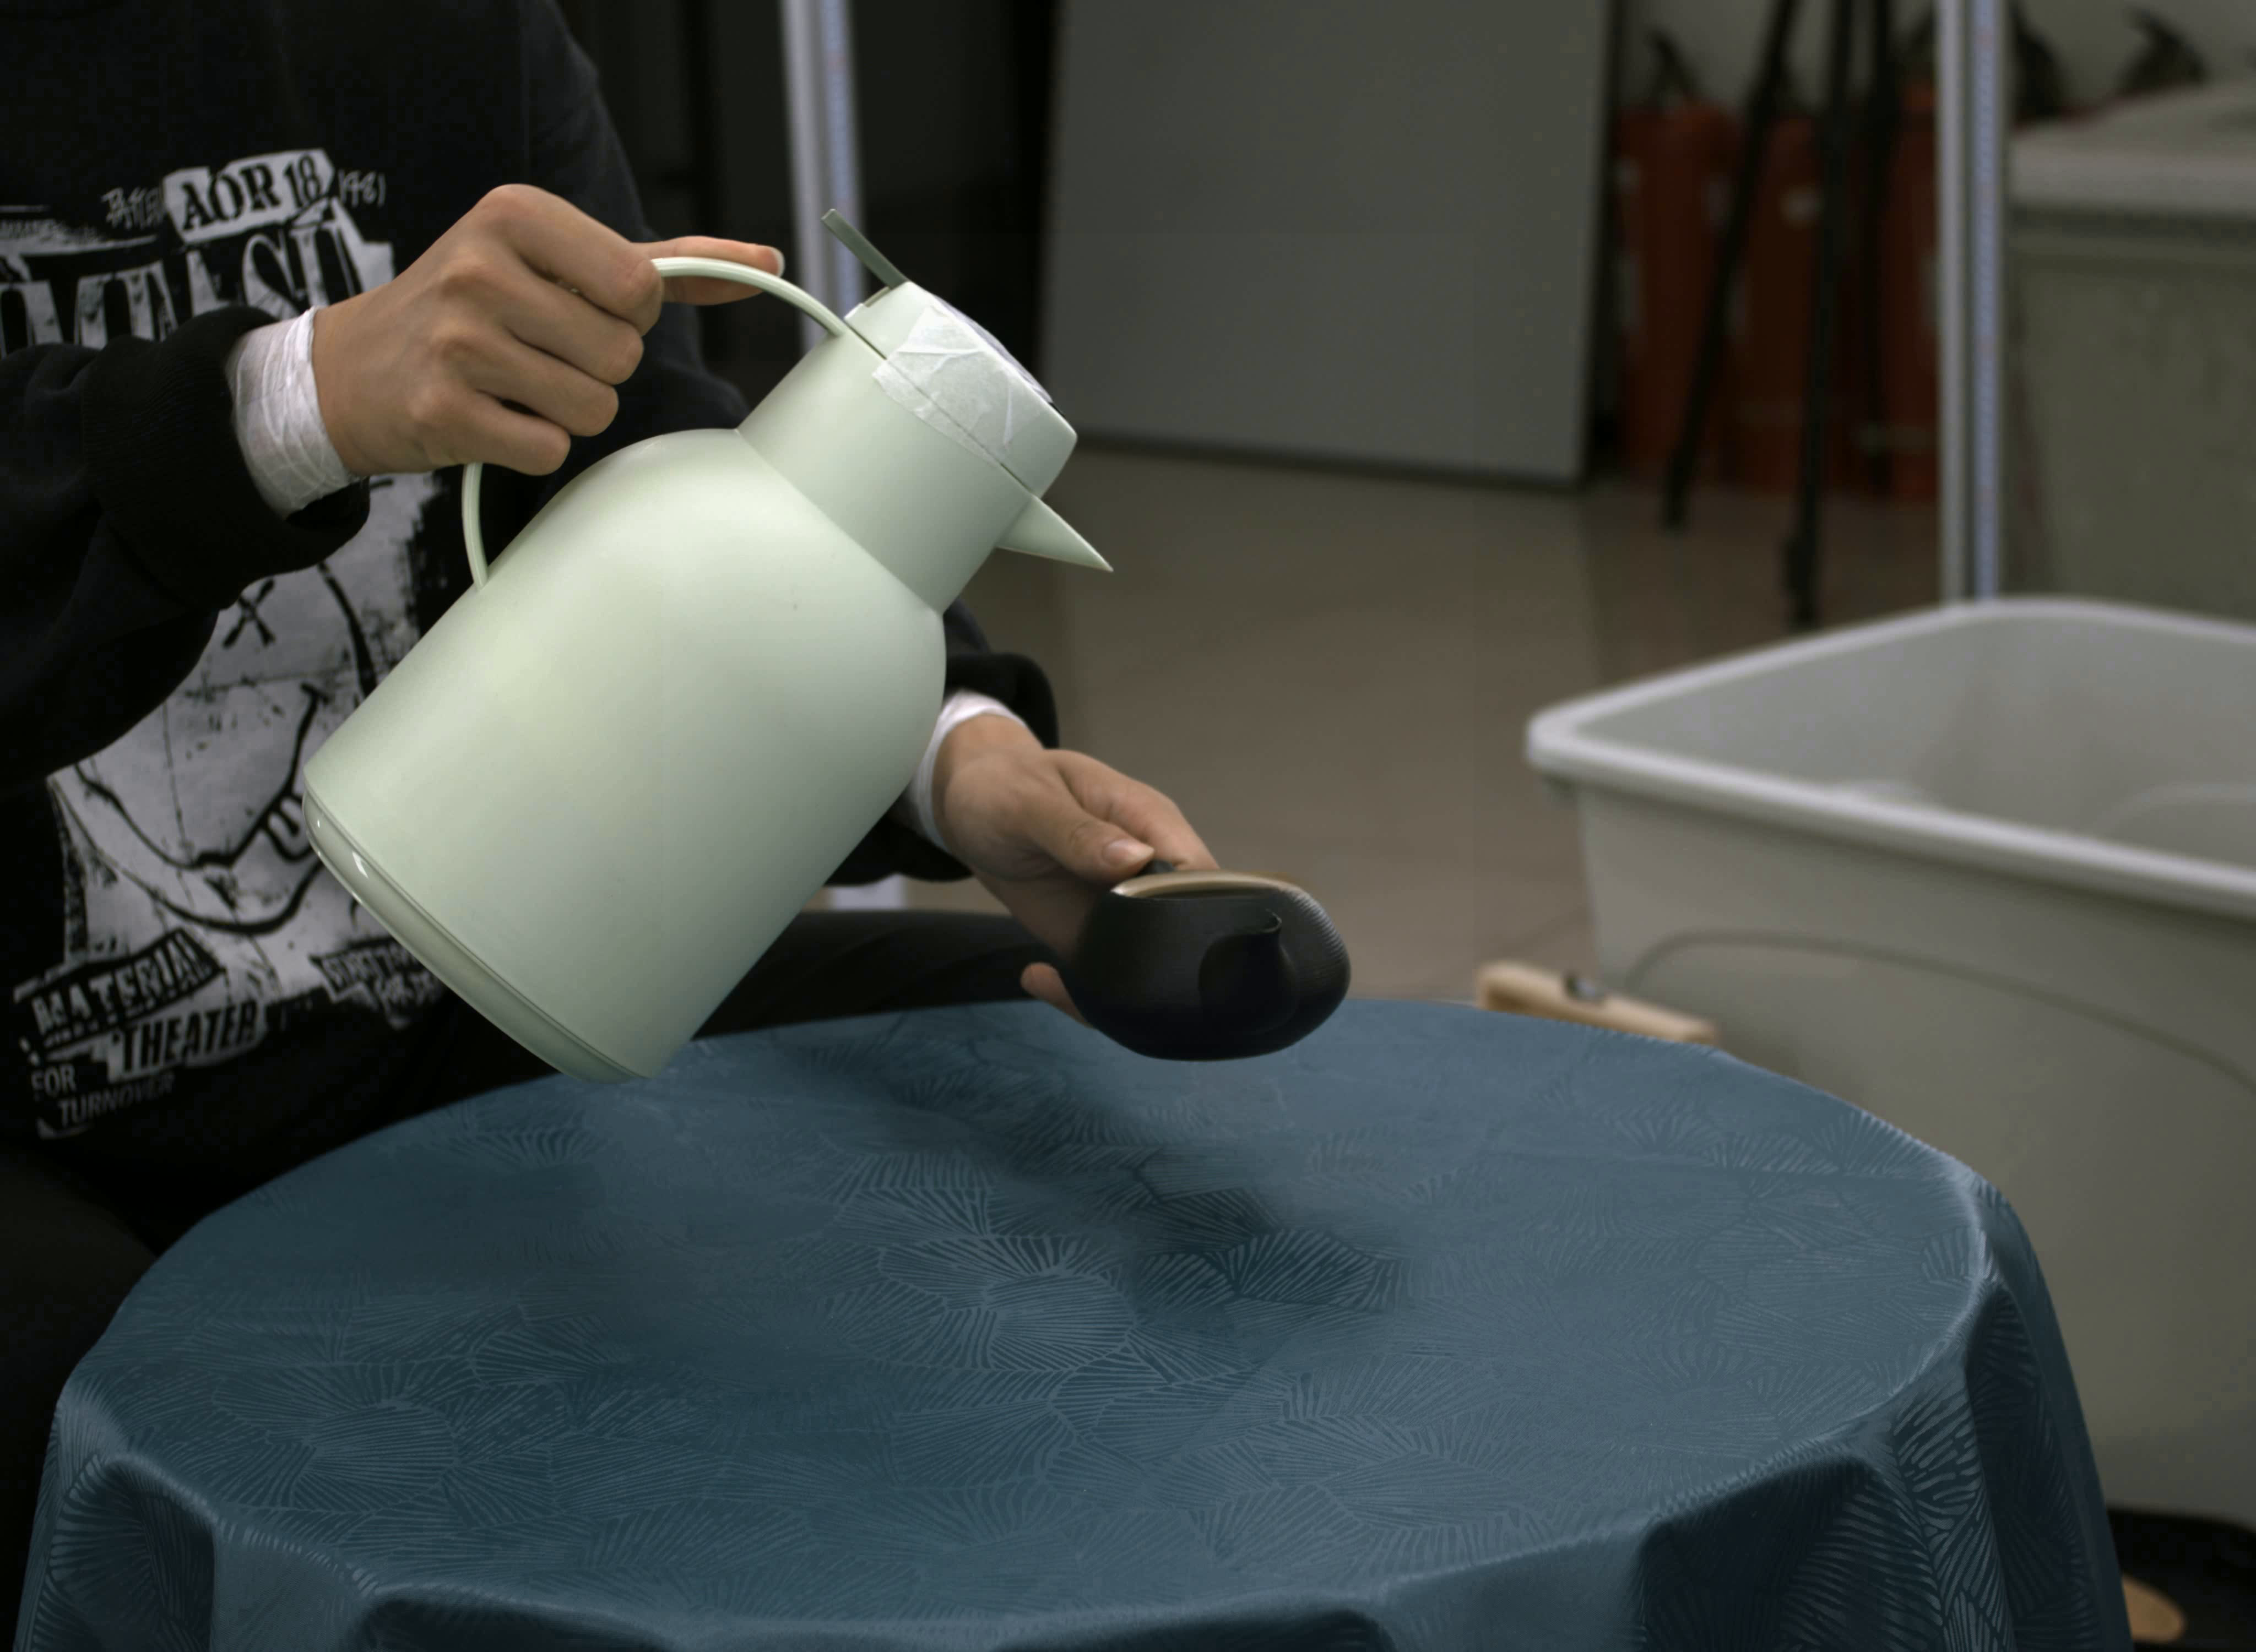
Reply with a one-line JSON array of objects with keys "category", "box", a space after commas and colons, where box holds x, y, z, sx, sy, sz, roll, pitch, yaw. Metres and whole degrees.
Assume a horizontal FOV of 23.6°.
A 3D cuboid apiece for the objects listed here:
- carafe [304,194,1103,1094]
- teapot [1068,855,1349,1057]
[{"category": "carafe", "box": [-0.137, -0.062, 1.658, 0.185, 0.258, 0.145, 37, 4, -10]}, {"category": "teapot", "box": [0.025, 0.043, 1.717, 0.089, 0.054, 0.134, -4, 10, -16]}]
